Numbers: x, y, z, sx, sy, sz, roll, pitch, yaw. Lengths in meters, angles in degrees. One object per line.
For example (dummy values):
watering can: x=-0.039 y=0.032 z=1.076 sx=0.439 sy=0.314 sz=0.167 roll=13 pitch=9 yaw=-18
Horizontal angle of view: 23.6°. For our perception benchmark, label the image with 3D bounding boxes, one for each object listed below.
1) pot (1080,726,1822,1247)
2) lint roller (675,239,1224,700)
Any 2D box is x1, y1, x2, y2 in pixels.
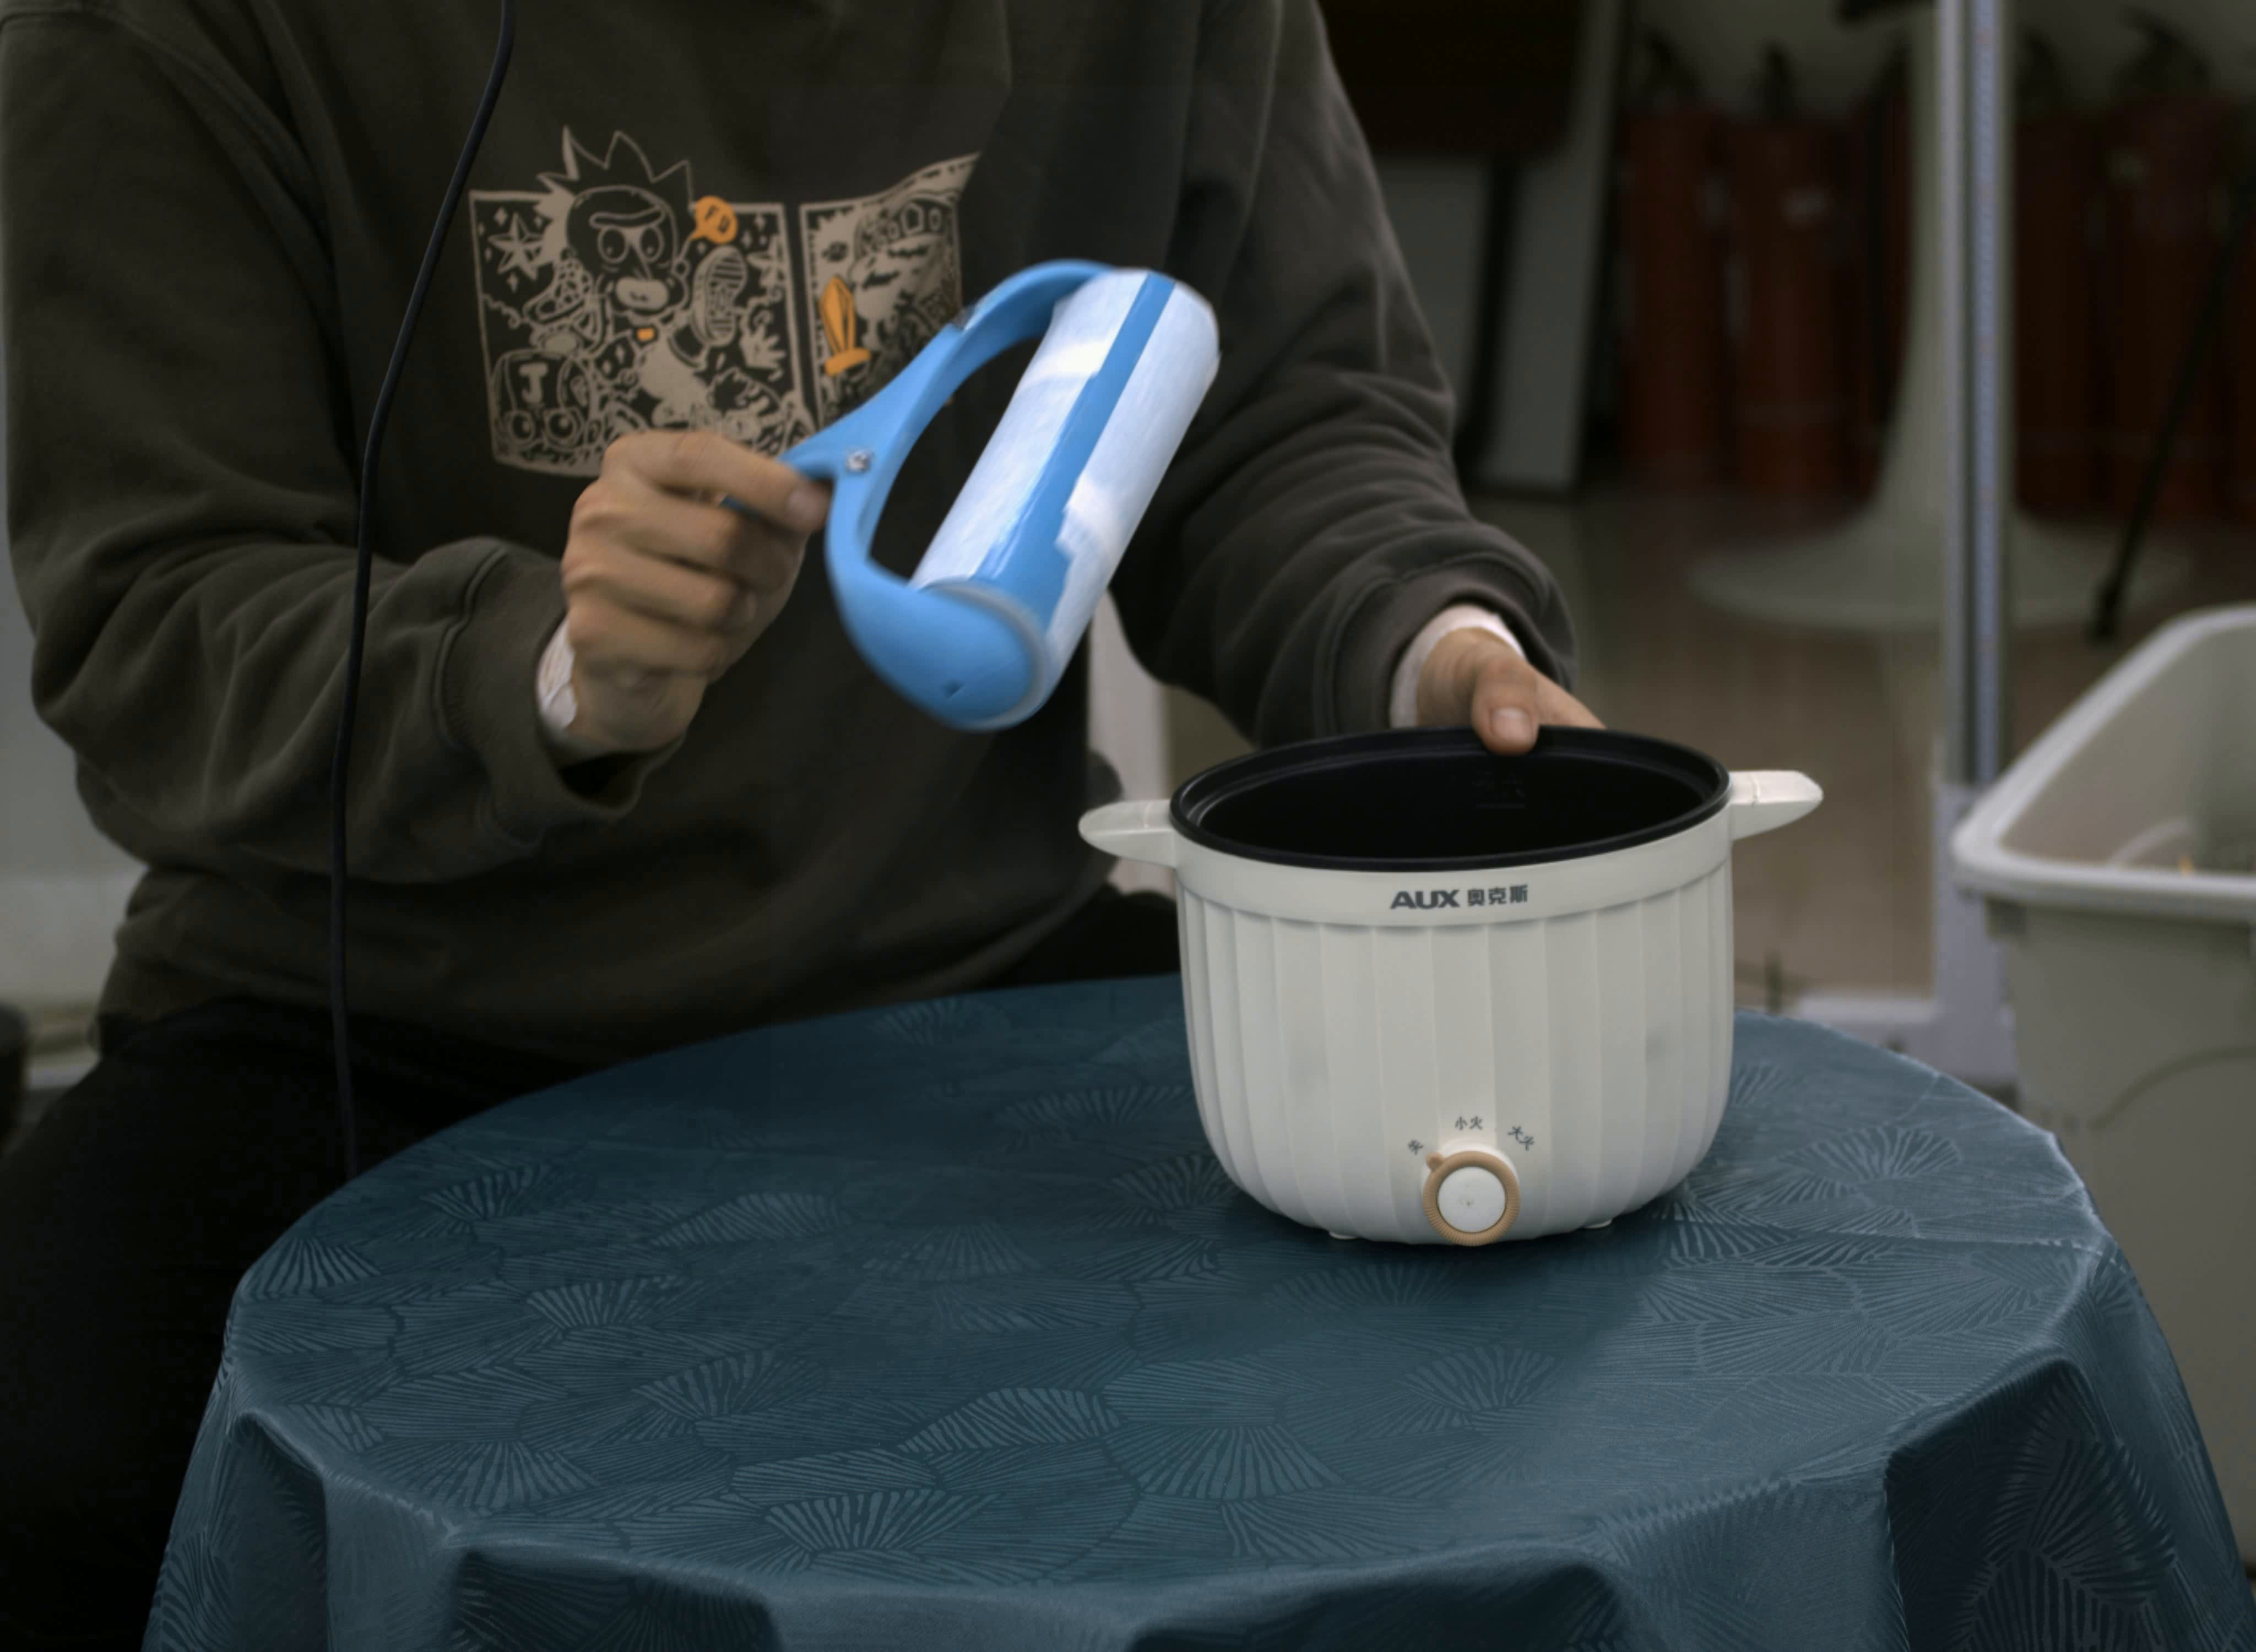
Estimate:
pot: x=0.108 y=0.054 z=1.726 sx=0.238 sy=0.144 sz=0.190 roll=-5 pitch=10 yaw=4
lint roller: x=-0.072 y=-0.104 z=1.700 sx=0.180 sy=0.068 sz=0.229 roll=-10 pitch=31 yaw=21
